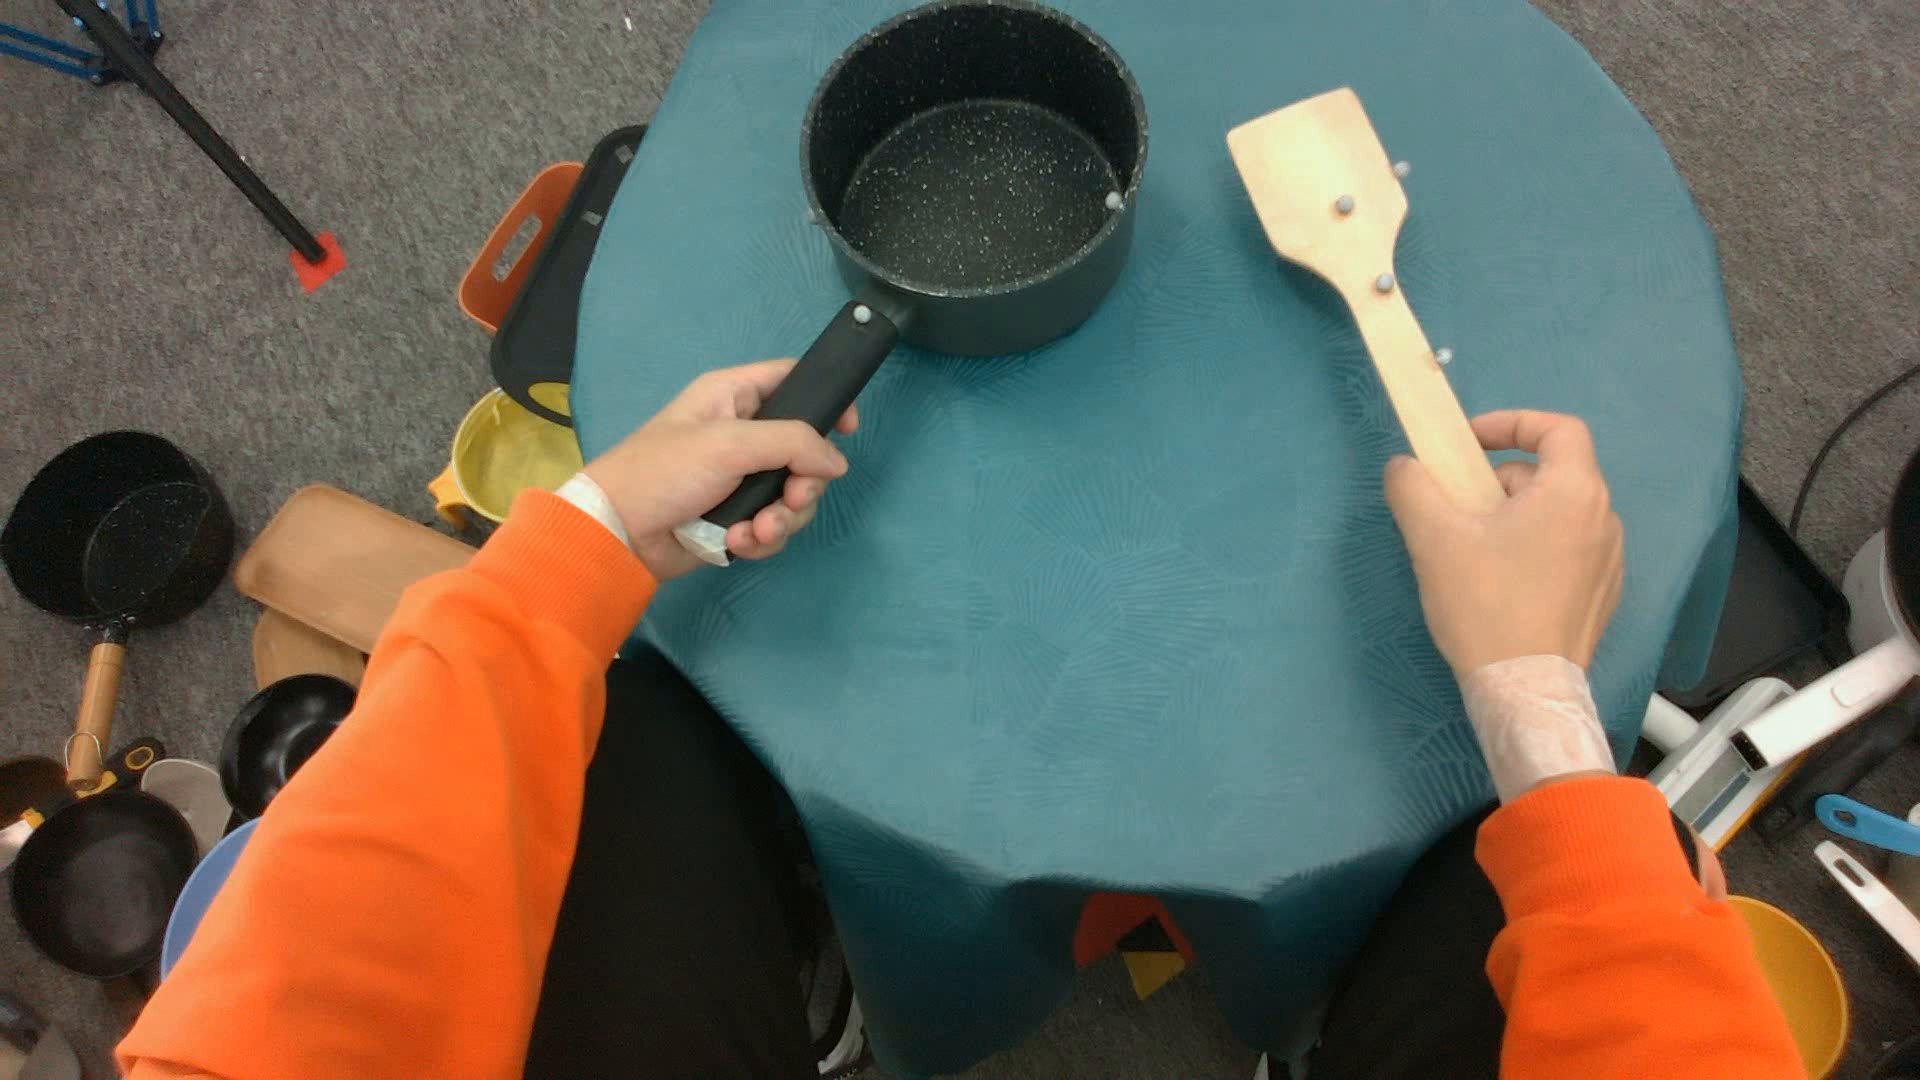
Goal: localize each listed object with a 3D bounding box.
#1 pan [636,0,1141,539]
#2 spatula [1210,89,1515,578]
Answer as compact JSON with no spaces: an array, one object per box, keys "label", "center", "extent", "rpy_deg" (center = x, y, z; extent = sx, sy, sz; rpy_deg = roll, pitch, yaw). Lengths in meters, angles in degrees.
[{"label":"pan","center":[-0.039,-0.124,0.685],"extent":[0.172,0.086,0.329],"rpy_deg":[31,73,14]},{"label":"spatula","center":[0.200,-0.108,0.670],"extent":[0.072,0.010,0.294],"rpy_deg":[-19,60,7]}]
